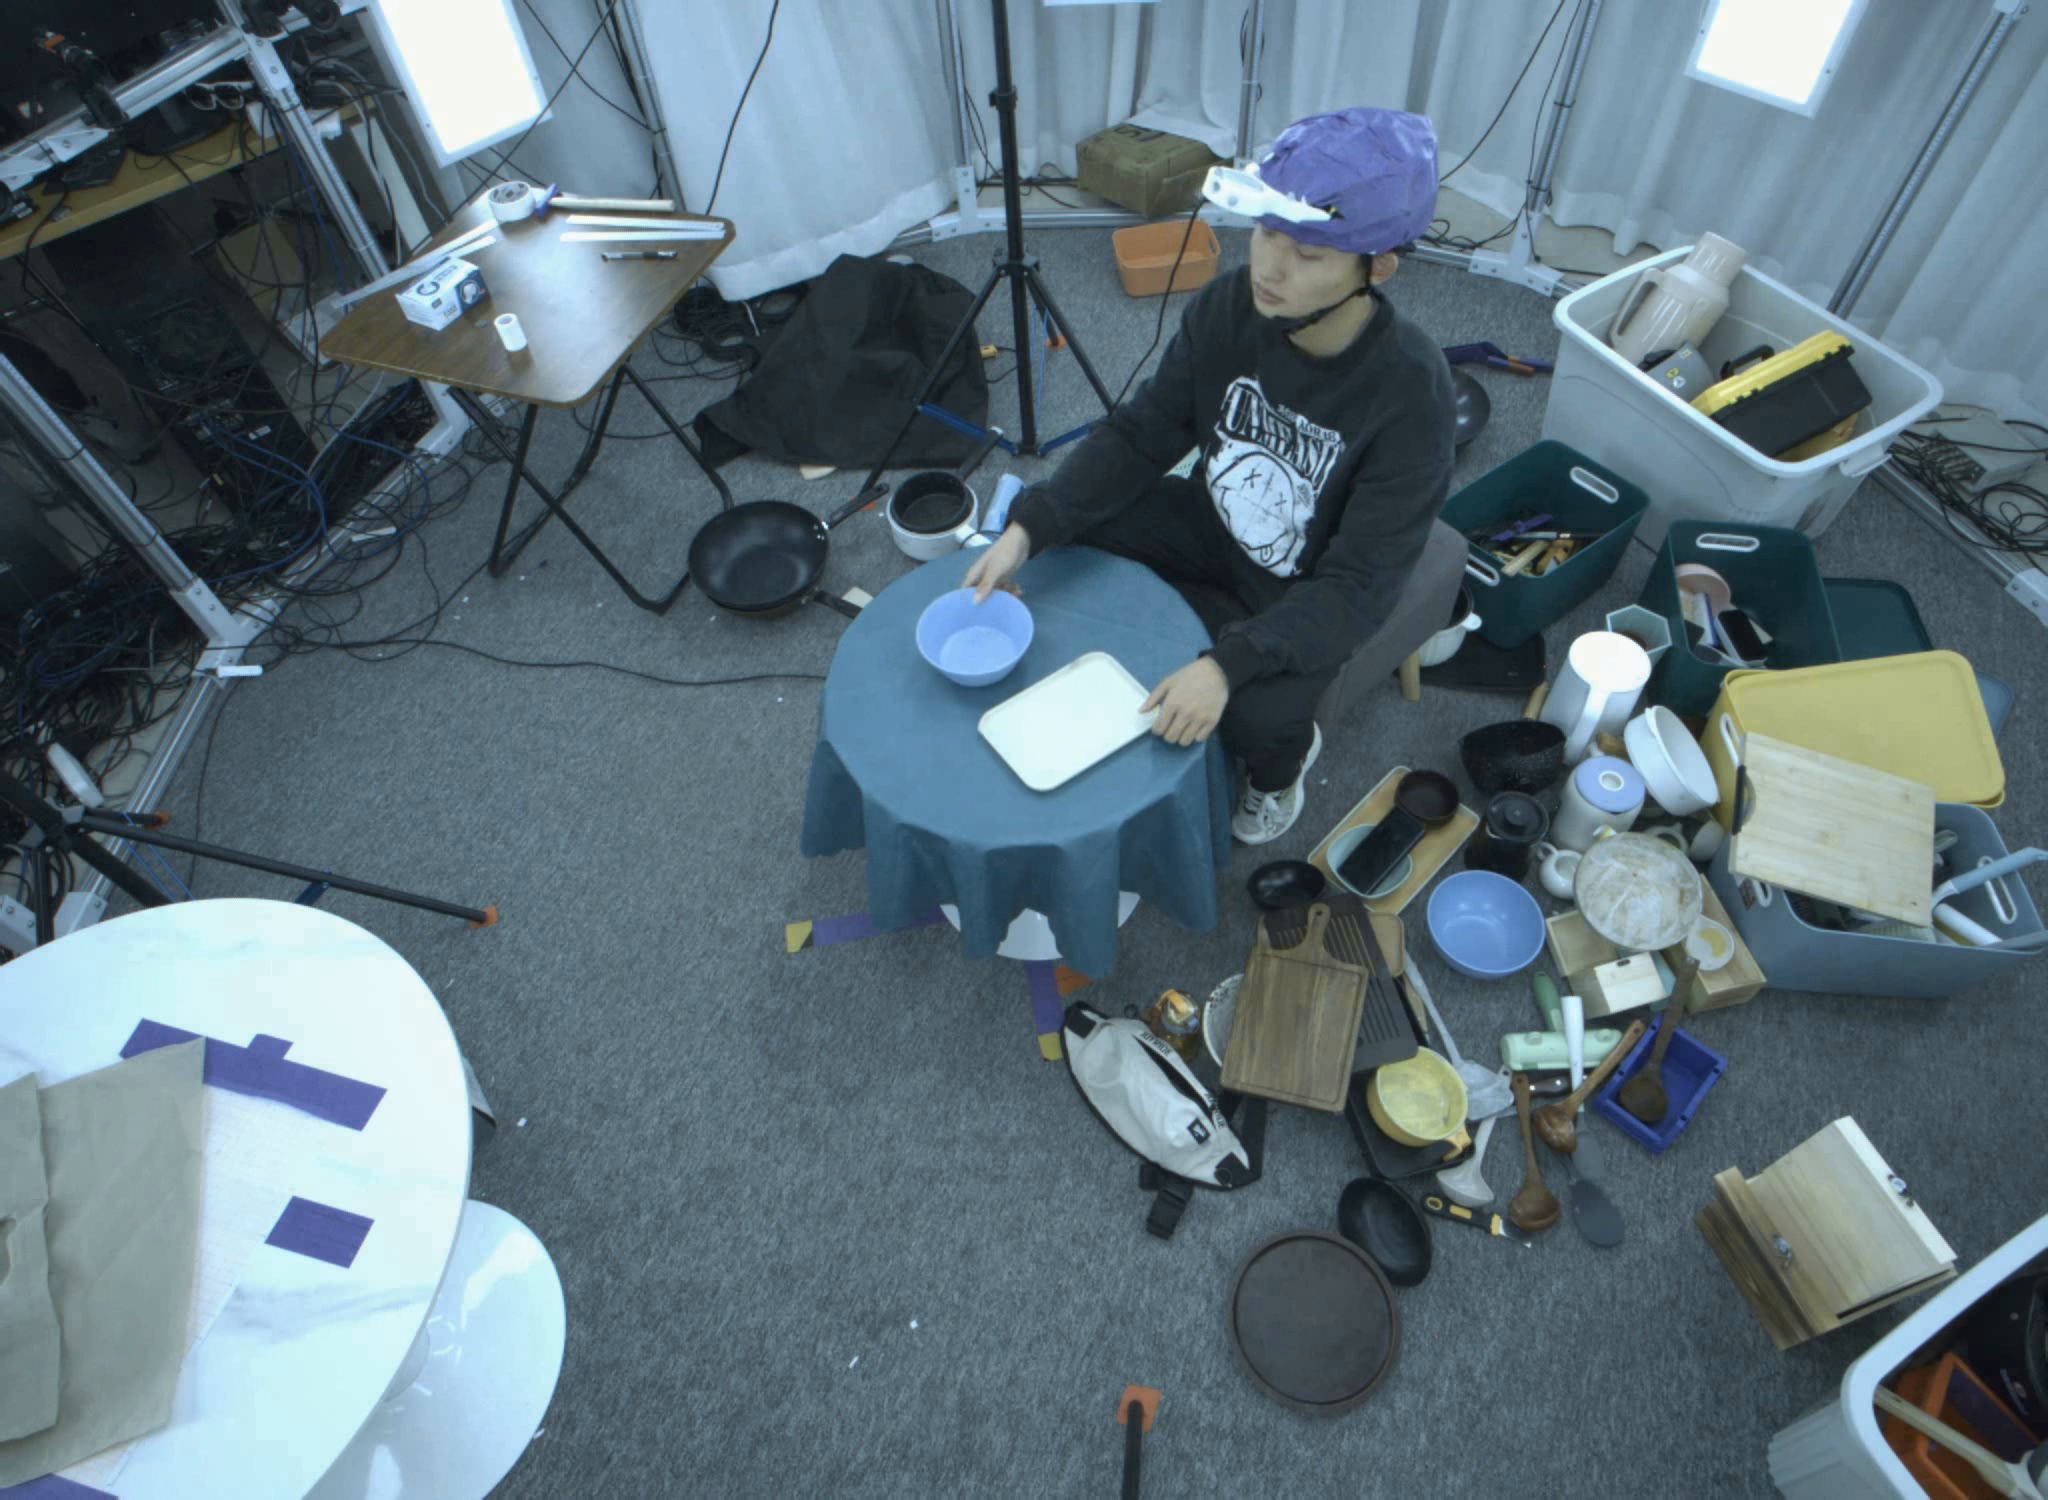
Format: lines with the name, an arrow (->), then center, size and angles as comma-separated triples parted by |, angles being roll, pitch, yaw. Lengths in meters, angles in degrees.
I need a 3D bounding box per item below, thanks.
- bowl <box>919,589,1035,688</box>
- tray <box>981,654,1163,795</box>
bowl -> -0.070, -0.160, 1.869 | 0.176, 0.071, 0.174 | -1, 56, 2
tray -> 0.071, -0.039, 1.812 | 0.241, 0.017, 0.168 | -31, 60, -19
